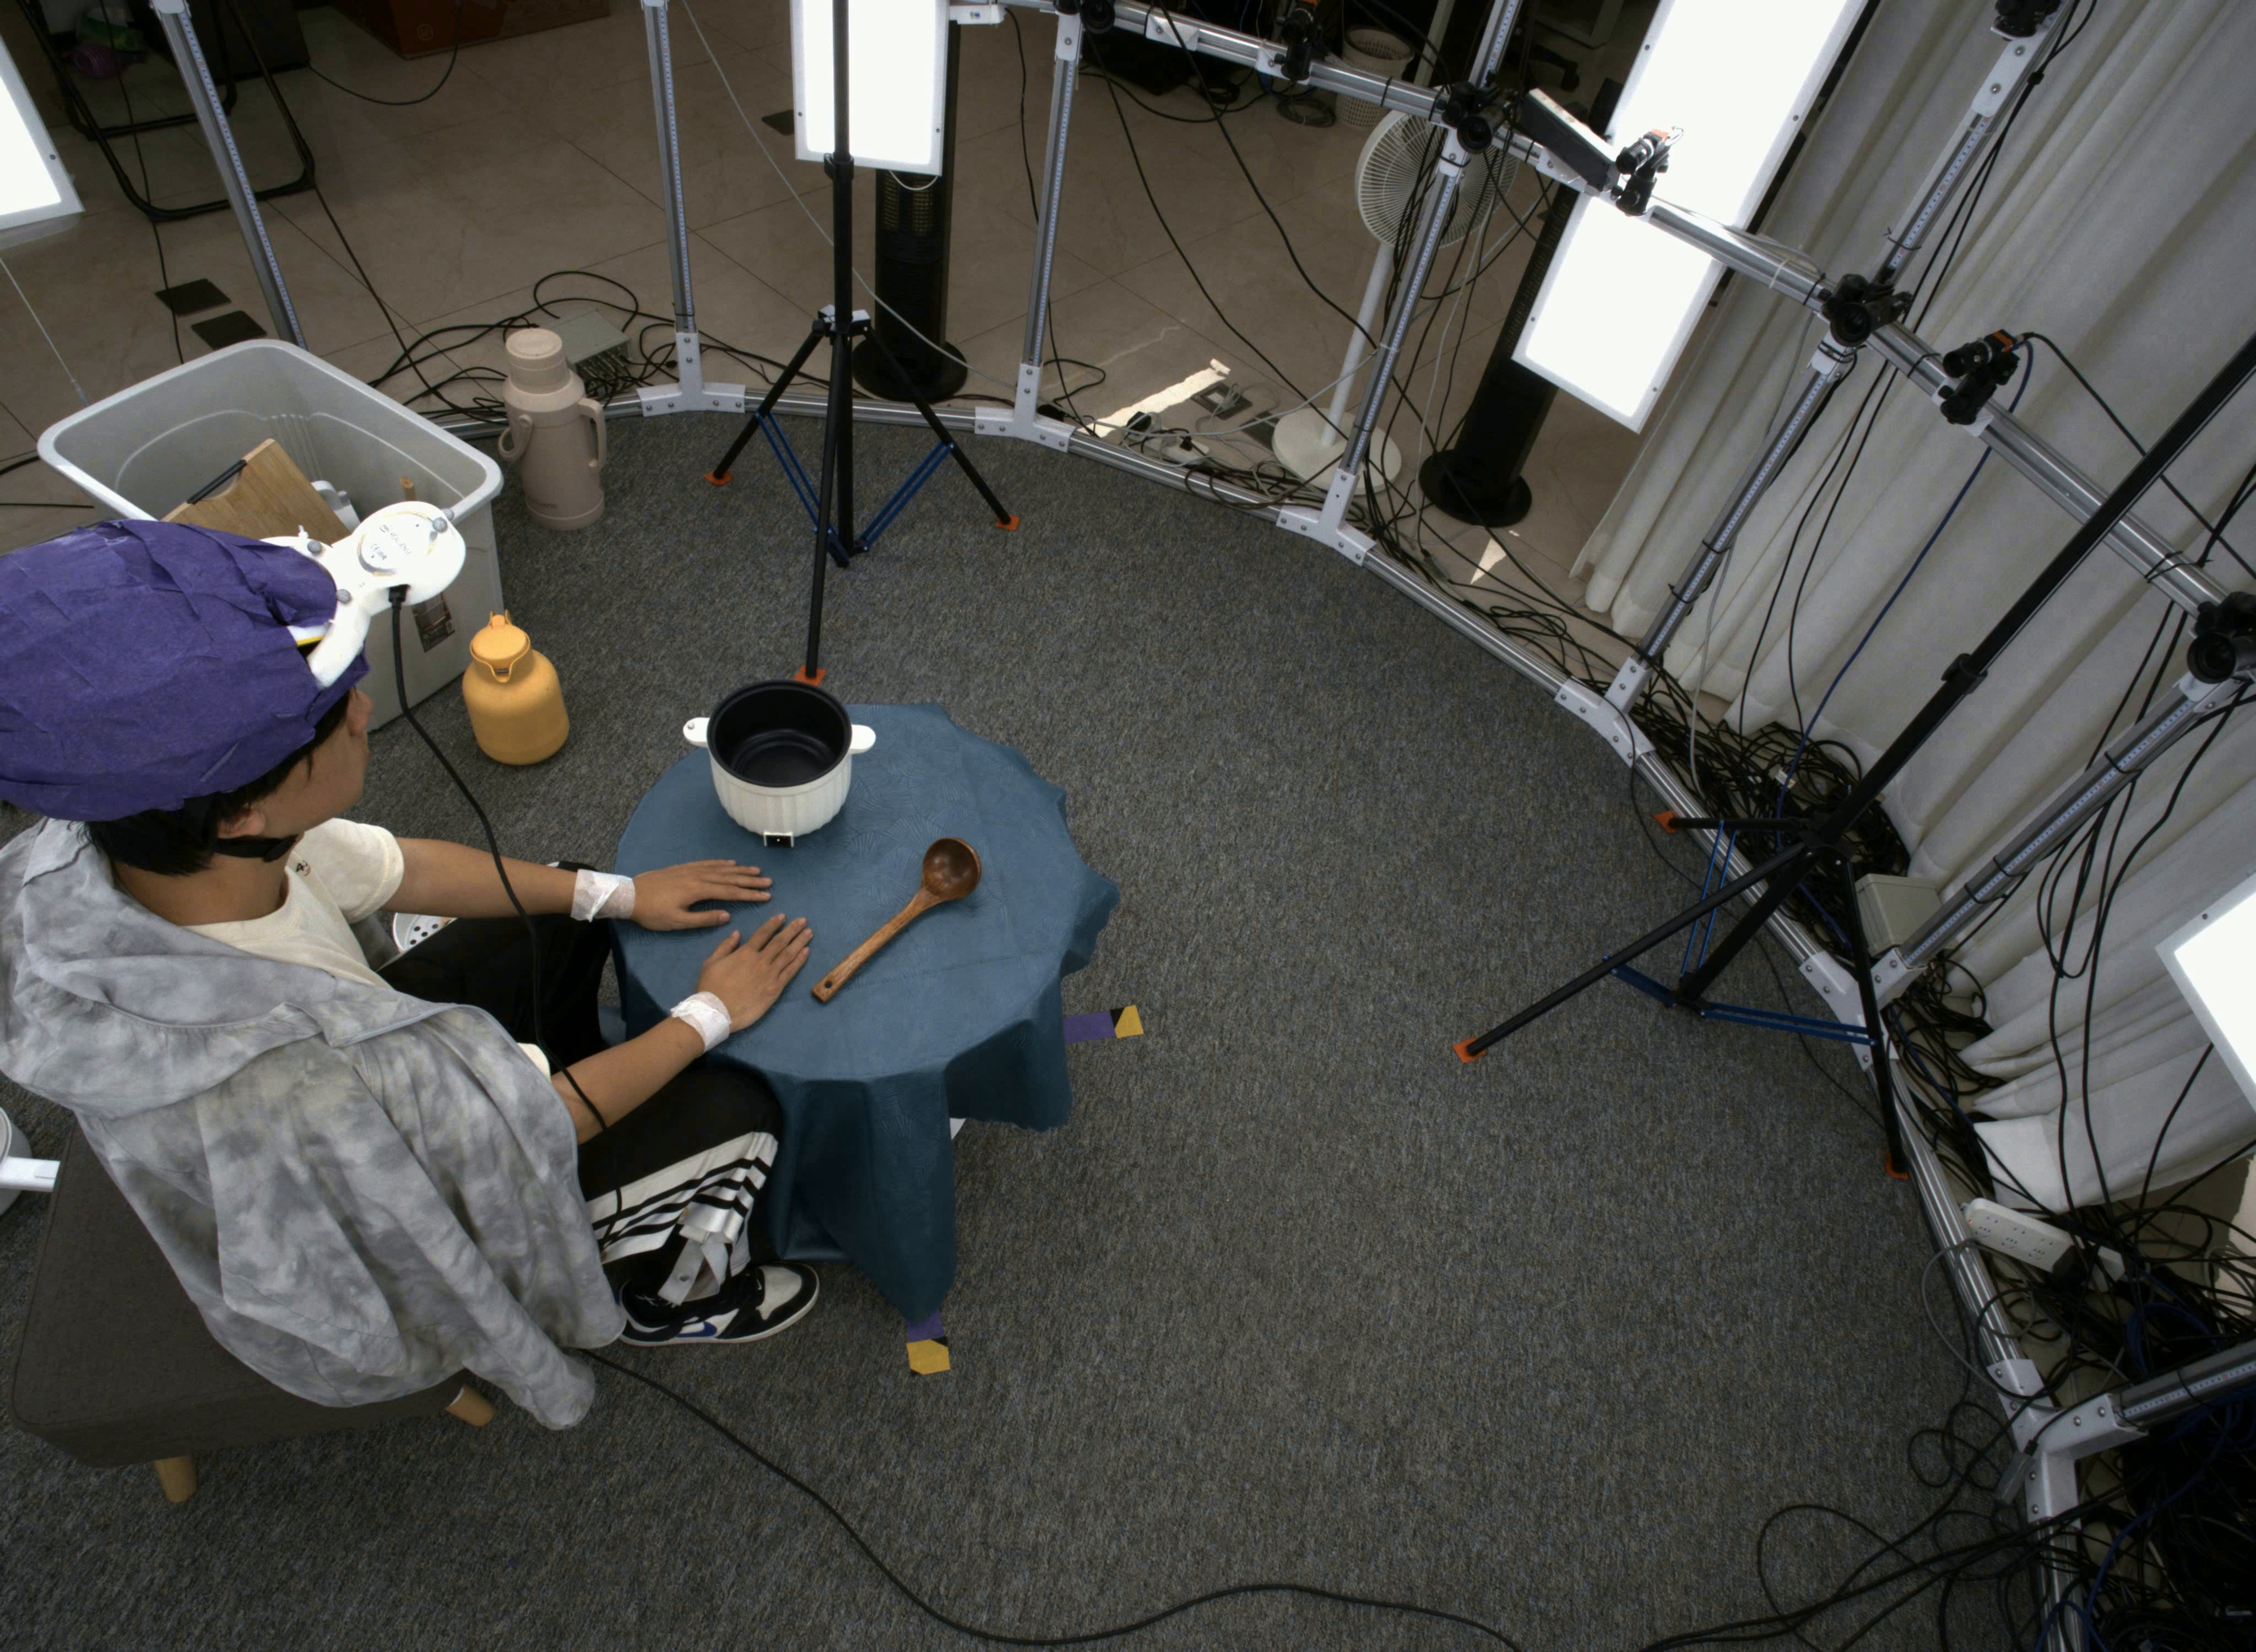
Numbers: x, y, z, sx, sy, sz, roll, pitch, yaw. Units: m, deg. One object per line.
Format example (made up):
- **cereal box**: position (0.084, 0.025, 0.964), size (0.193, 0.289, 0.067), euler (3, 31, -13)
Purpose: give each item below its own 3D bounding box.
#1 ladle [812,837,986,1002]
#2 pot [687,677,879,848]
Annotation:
- **ladle**: position (-0.285, 0.113, 1.626), size (0.080, 0.078, 0.274), euler (38, 54, 15)
- **pot**: position (-0.447, -0.086, 1.694), size (0.240, 0.145, 0.187), euler (2, 56, -12)
